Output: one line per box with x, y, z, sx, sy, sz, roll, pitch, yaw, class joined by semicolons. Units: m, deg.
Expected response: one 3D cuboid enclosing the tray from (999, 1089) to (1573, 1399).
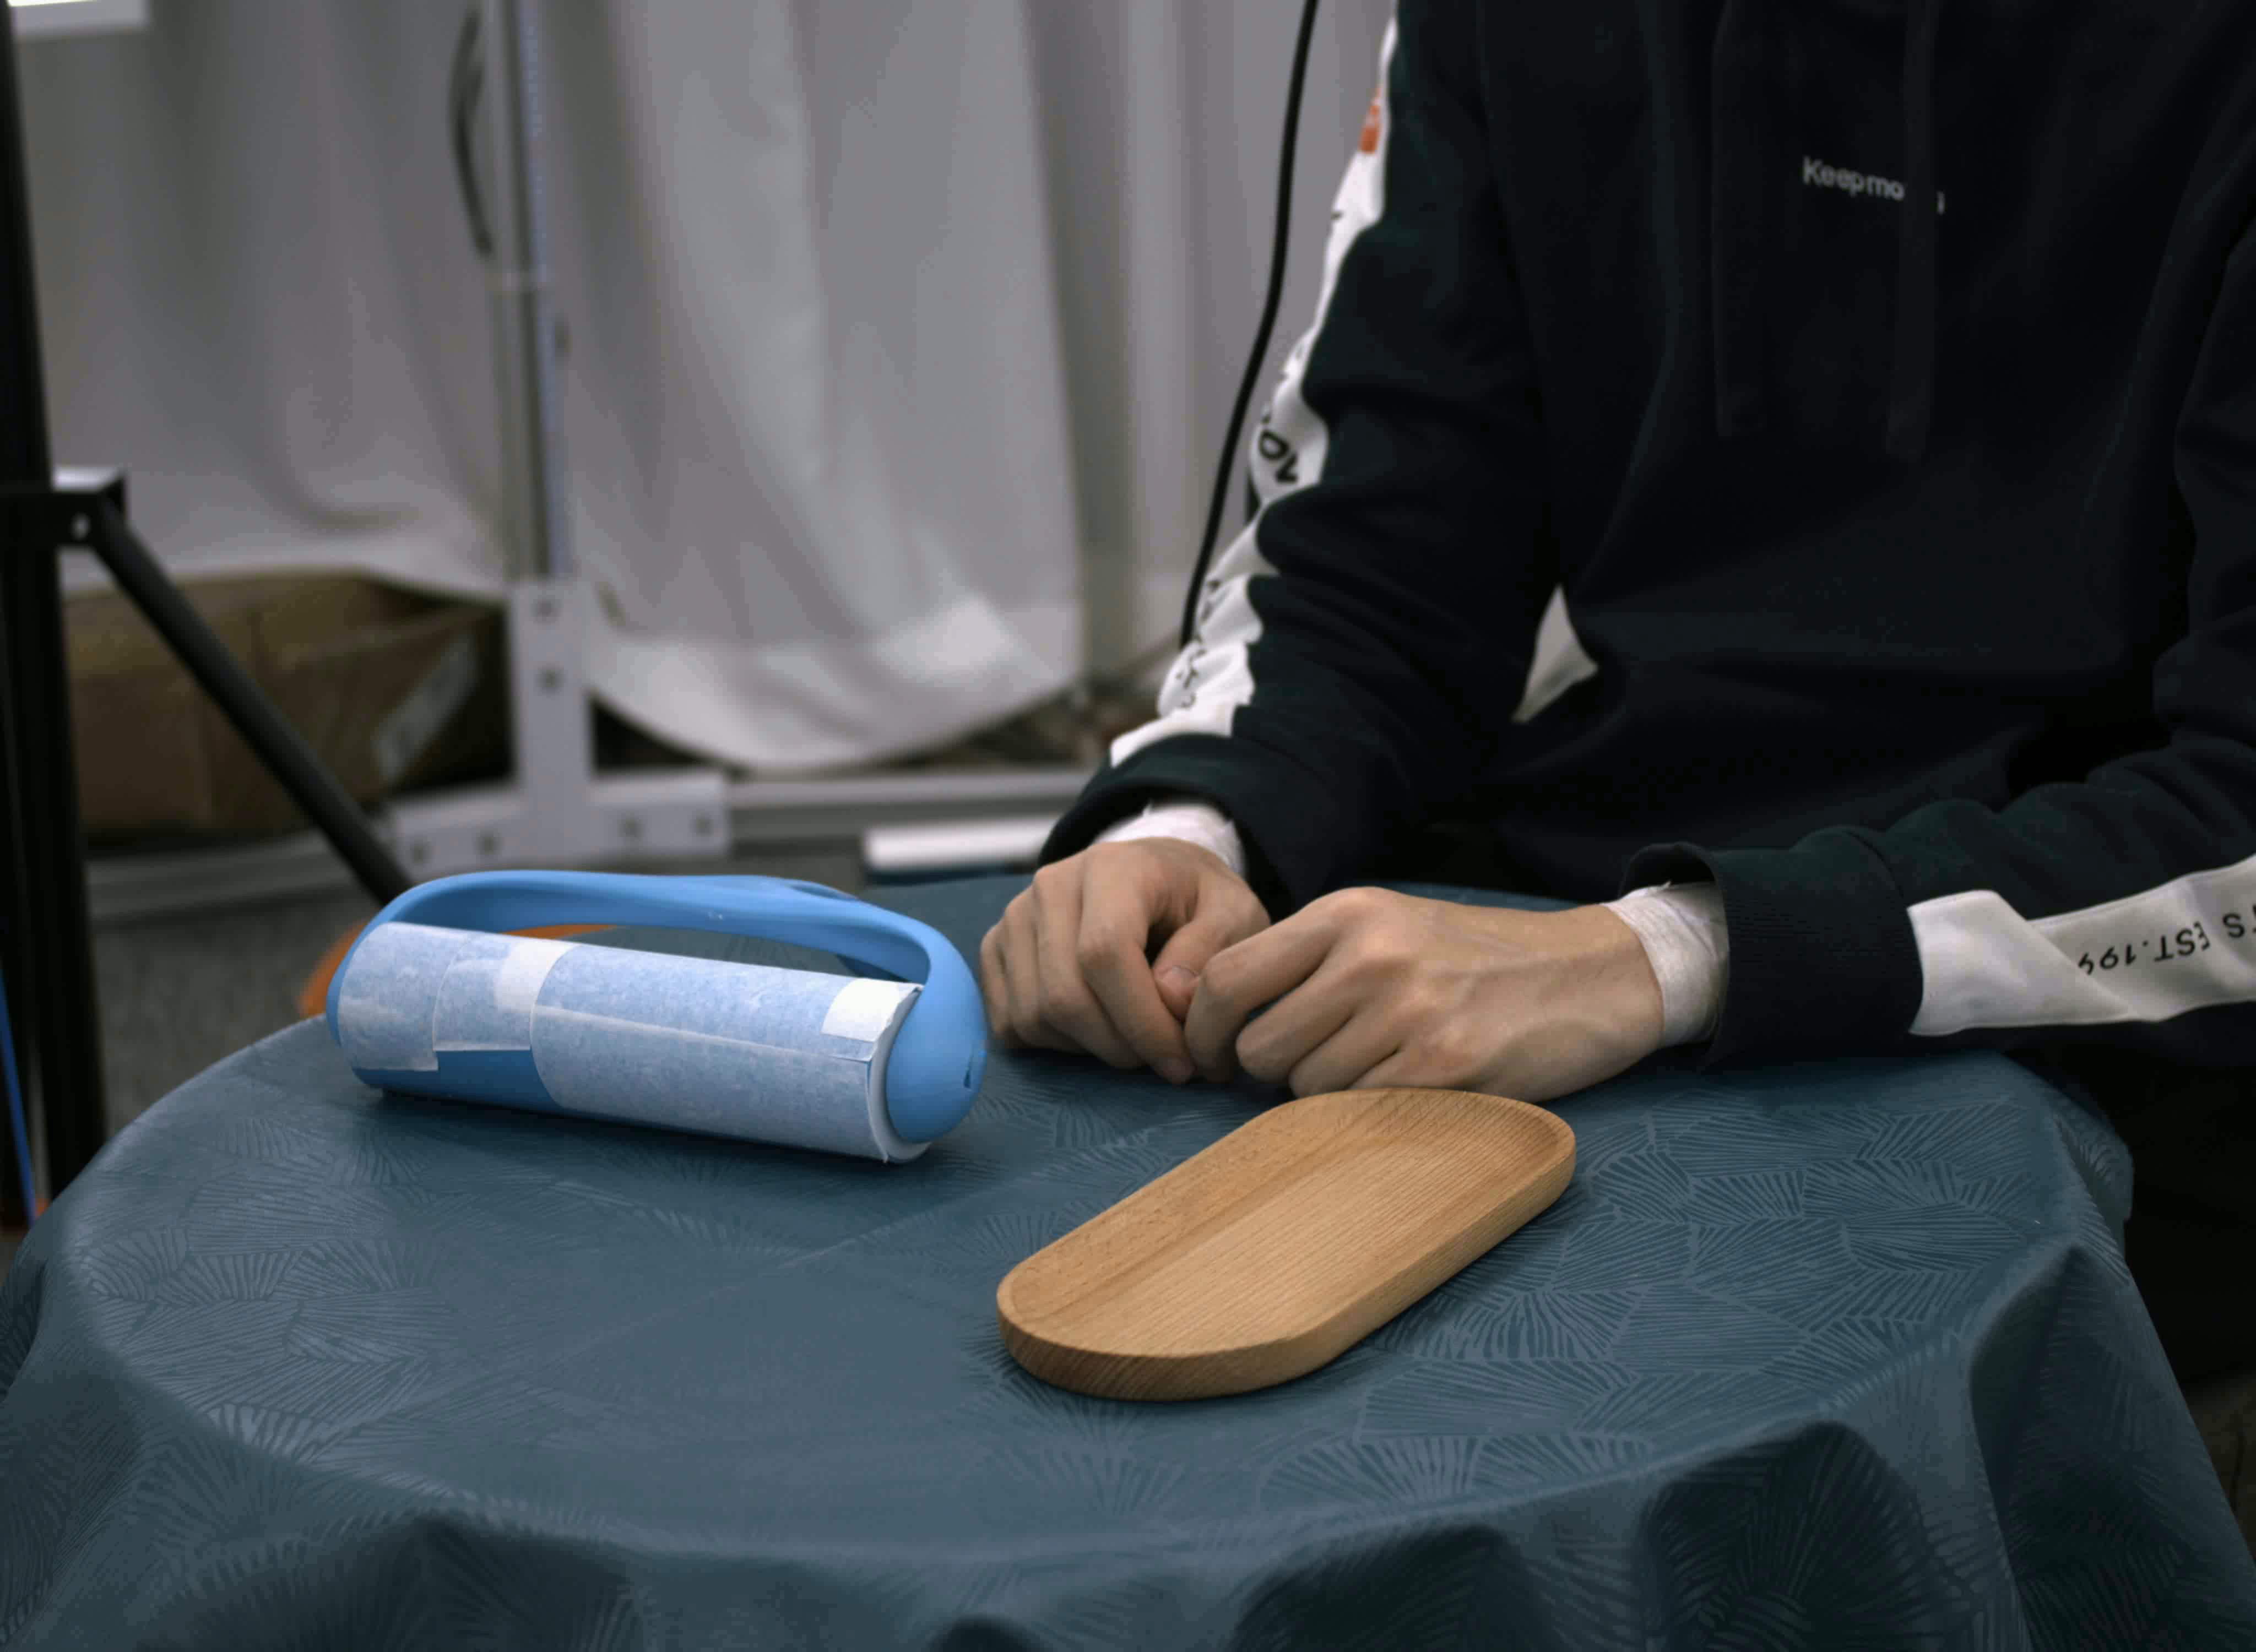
0.048;0.116;1.494;0.103;0.020;0.227;8;17;29;tray

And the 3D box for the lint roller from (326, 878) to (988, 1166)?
-0.123;0.049;1.683;0.232;0.068;0.177;4;18;26;lint roller
